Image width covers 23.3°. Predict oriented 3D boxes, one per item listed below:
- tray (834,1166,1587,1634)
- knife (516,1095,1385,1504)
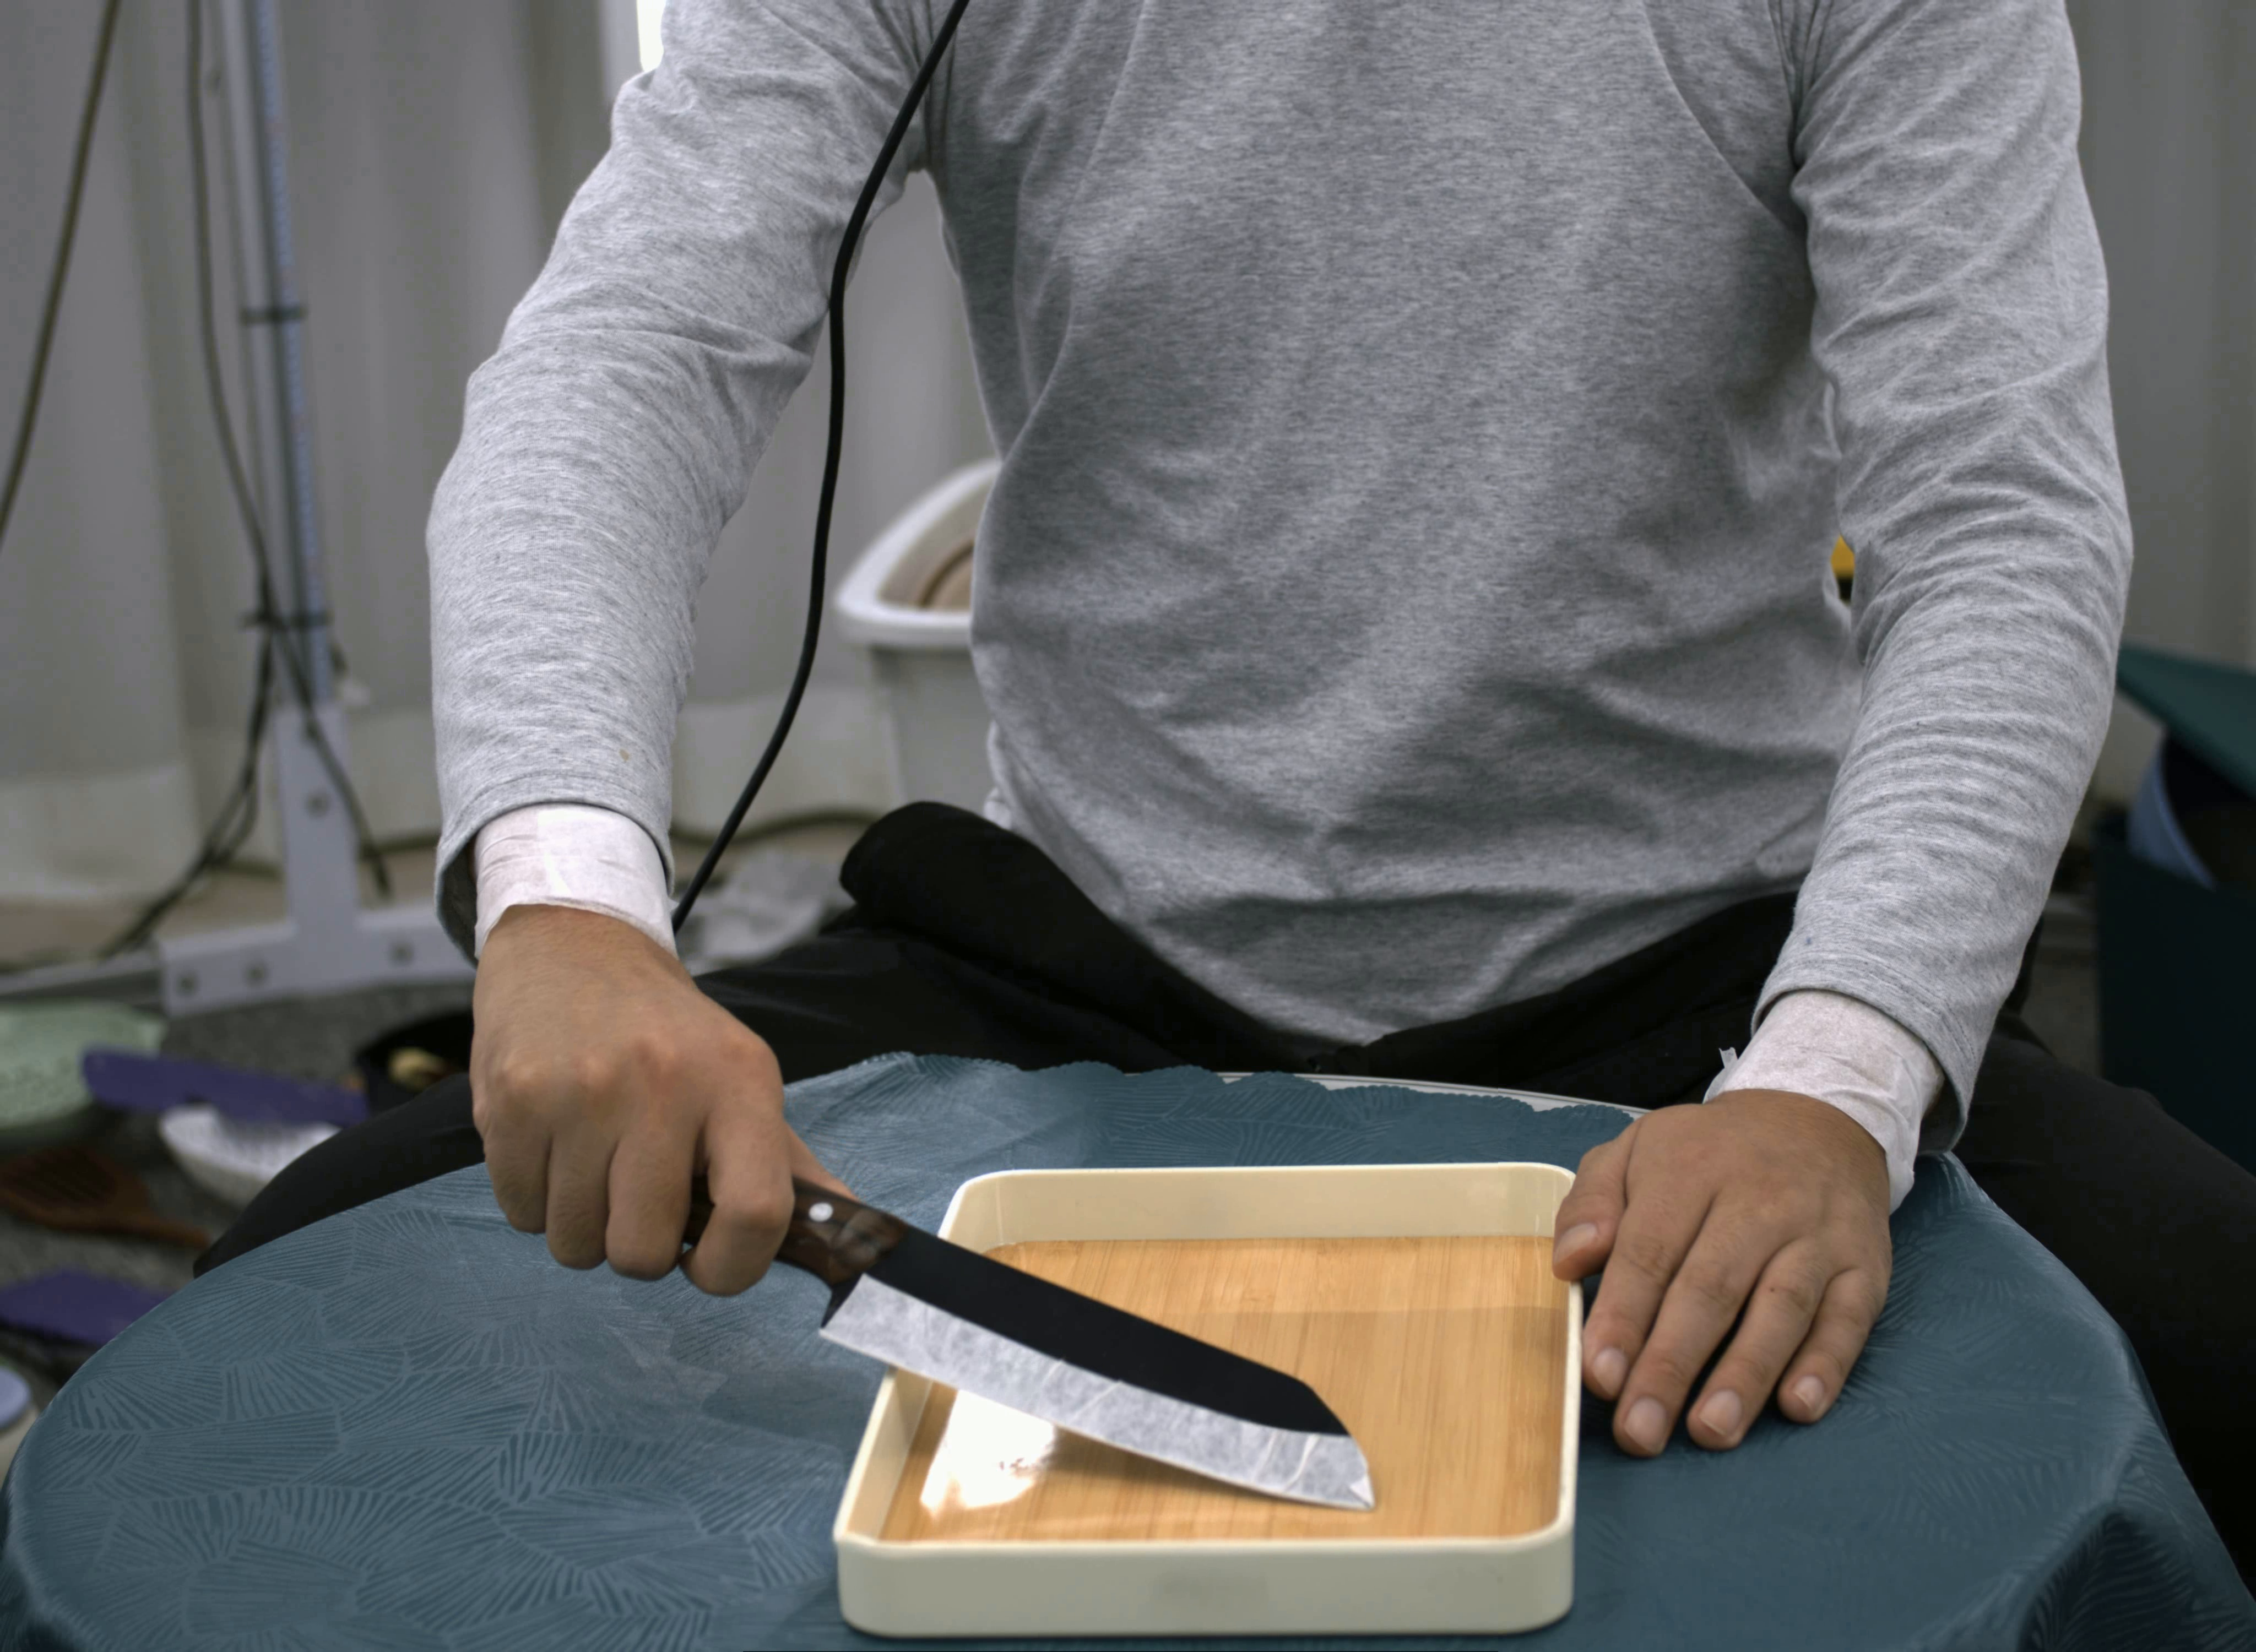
[{"bbox_3d":[0.031,0.154,1.512,0.191,0.027,0.302,-1,15,6],"label":"tray"},{"bbox_3d":[-0.053,0.130,1.505,0.290,0.020,0.050,20,53,26],"label":"knife"}]
